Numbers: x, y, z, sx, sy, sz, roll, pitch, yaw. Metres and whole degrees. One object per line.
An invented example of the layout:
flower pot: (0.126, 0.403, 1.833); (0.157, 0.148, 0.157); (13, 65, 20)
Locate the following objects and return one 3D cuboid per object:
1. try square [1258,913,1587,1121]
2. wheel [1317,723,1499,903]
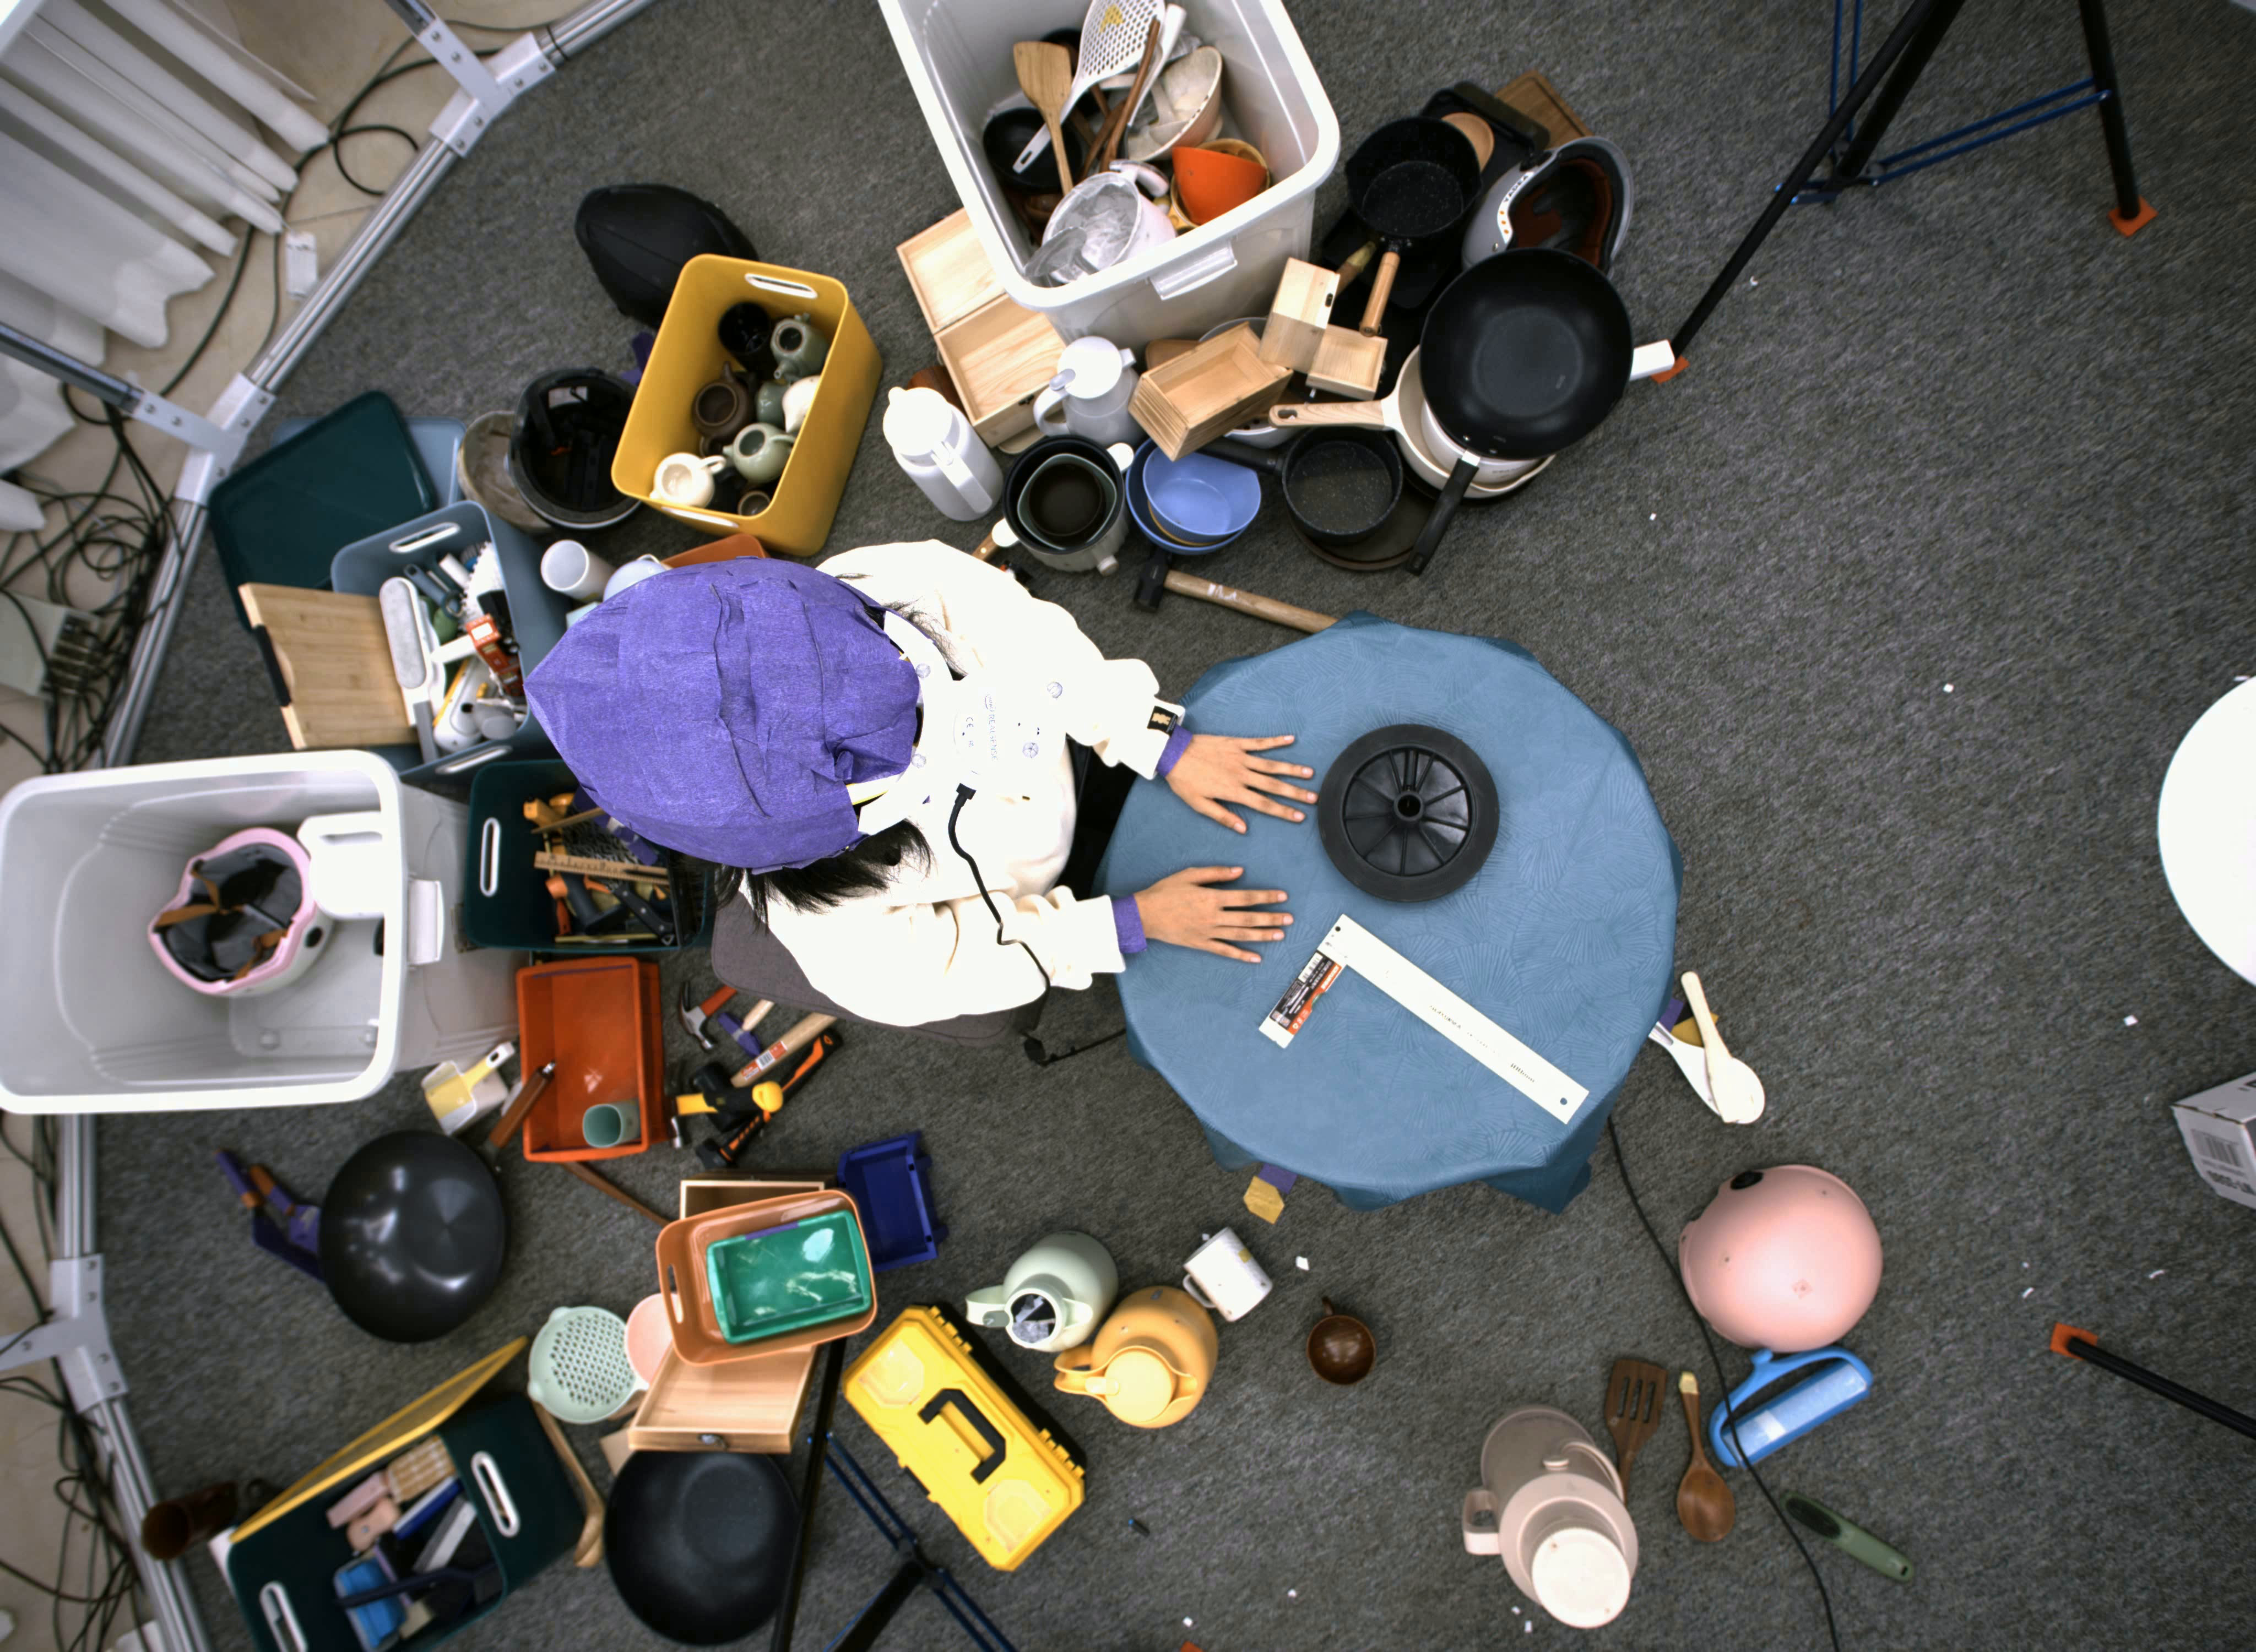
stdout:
try square: (0.304, 0.239, 1.443); (0.312, 0.016, 0.153); (36, 96, 9)
wheel: (0.289, -0.018, 1.423); (0.188, 0.079, 0.188); (-19, 83, 9)
